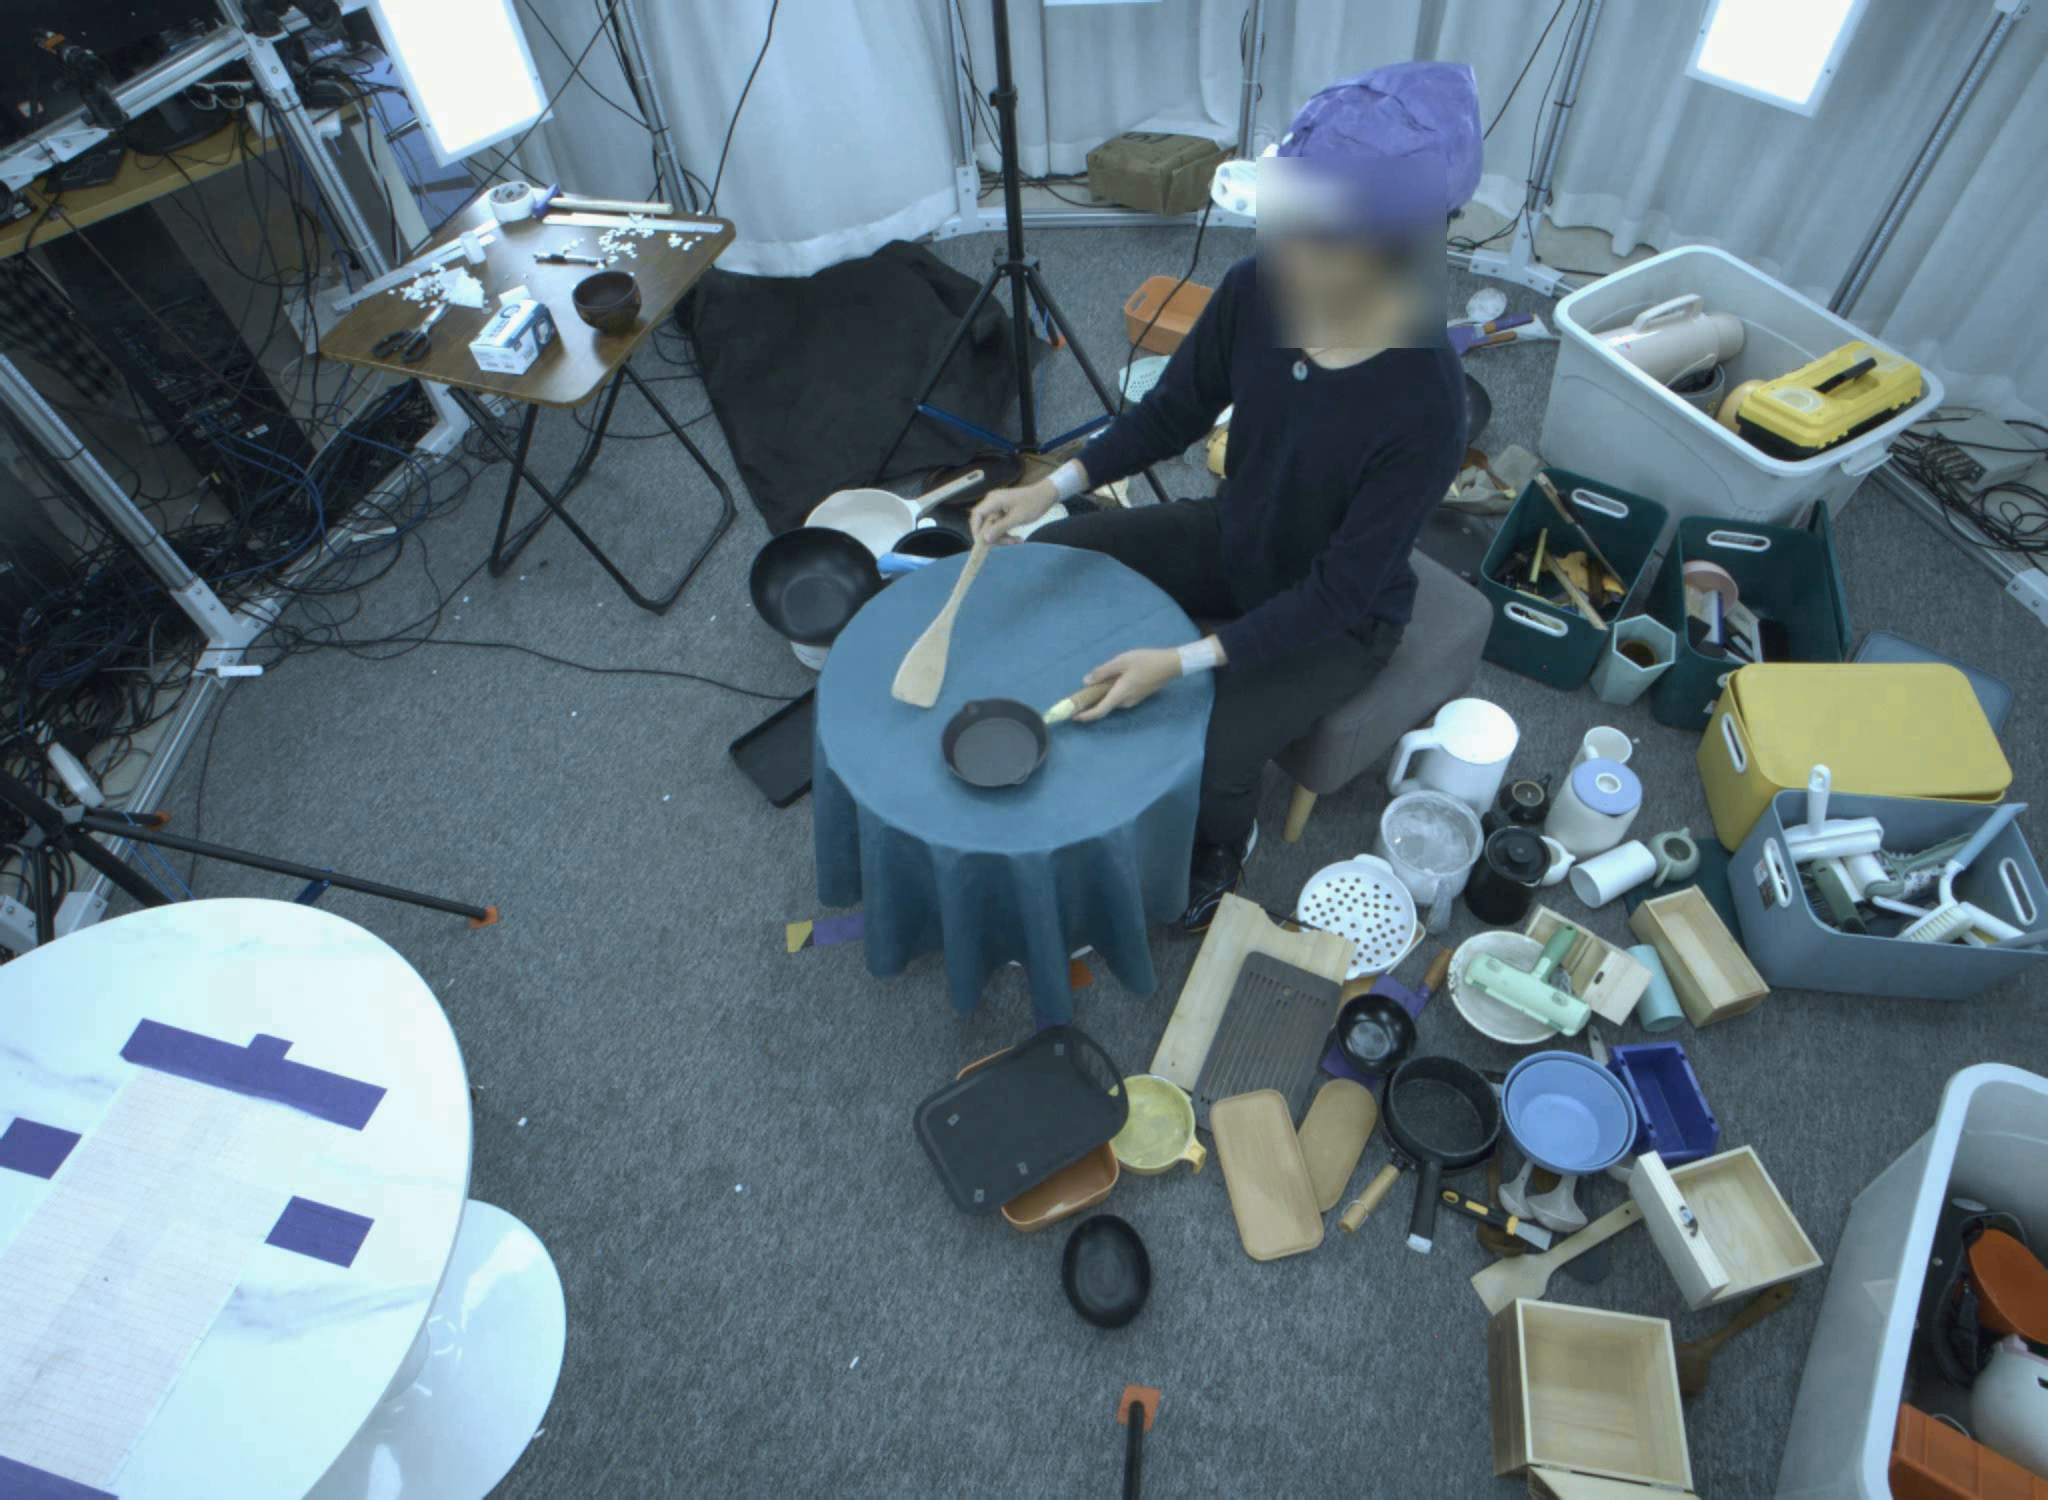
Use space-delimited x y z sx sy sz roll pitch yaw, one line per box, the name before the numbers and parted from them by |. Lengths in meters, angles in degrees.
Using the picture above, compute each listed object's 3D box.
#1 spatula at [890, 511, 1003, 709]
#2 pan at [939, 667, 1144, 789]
spatula | -0.105 -0.211 1.830 0.016 0.082 0.327 19 82 51
pan | 0.033 -0.043 1.785 0.326 0.050 0.166 -24 57 -12
